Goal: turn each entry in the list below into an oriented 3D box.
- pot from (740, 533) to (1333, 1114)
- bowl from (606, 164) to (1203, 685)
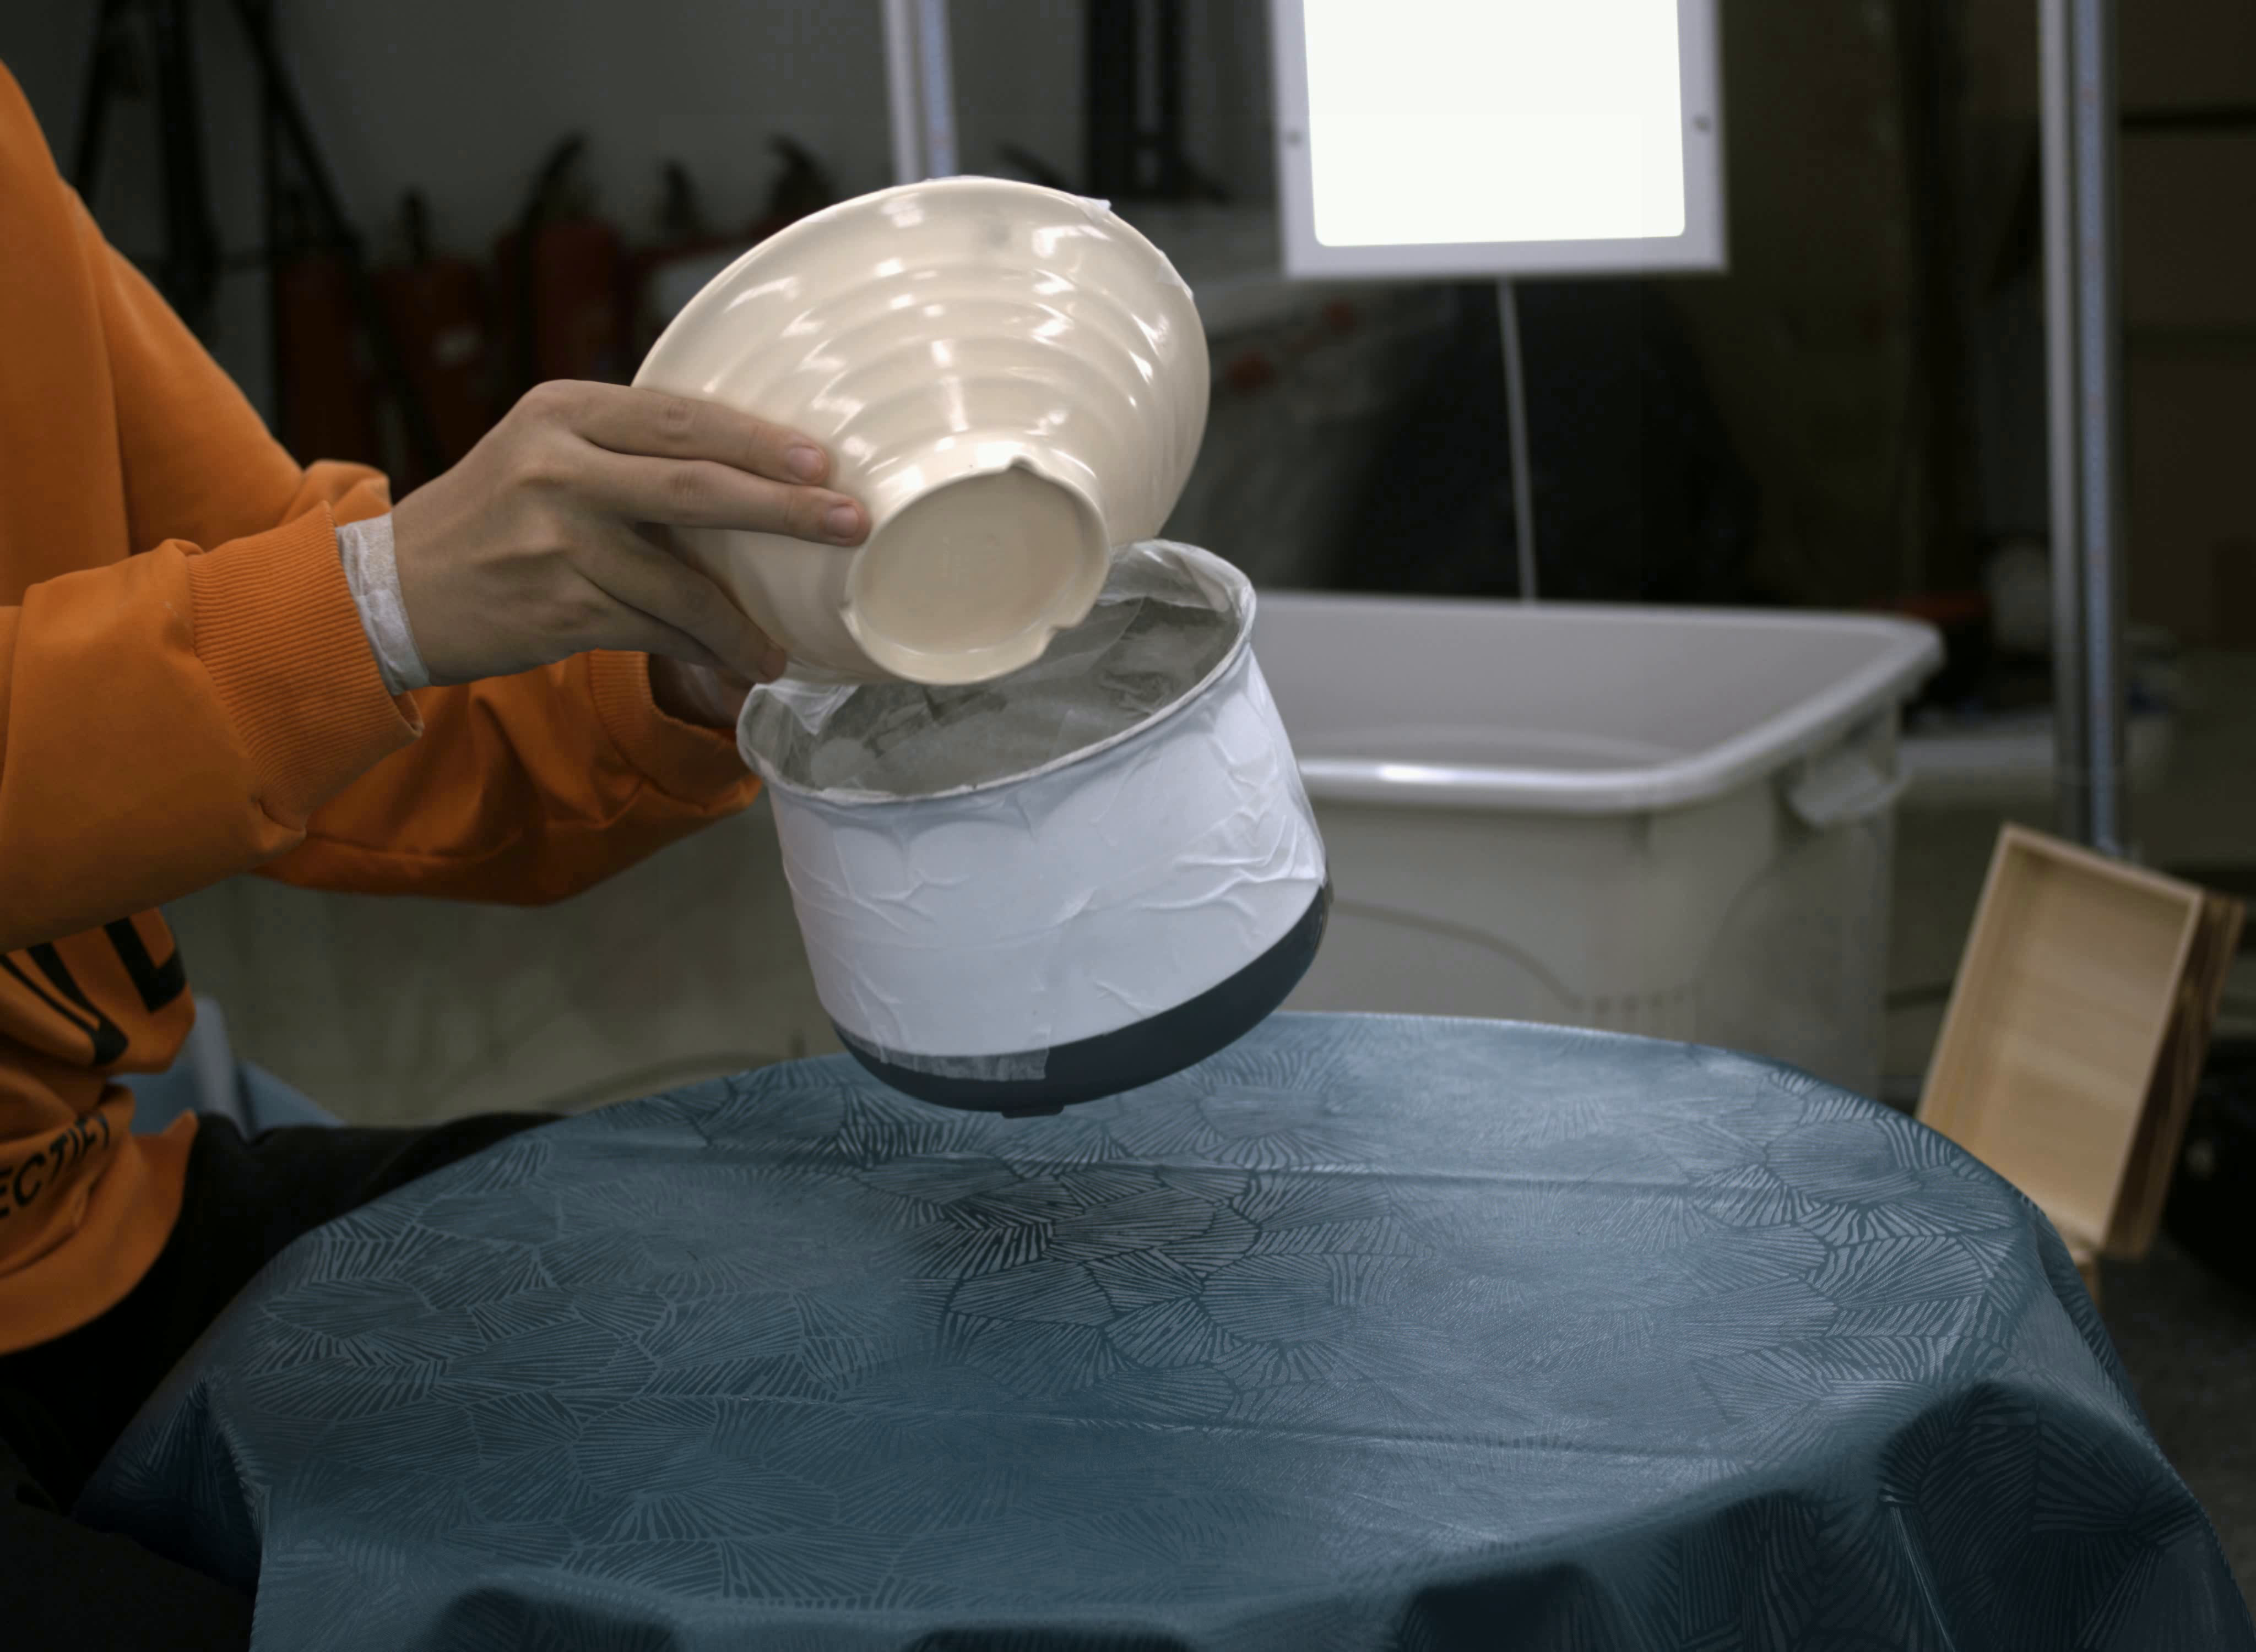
[{"bbox_3d":[-0.040,-0.008,1.846,0.176,0.136,0.237,-26,27,-19],"label":"pot"},{"bbox_3d":[-0.058,-0.105,1.752,0.200,0.206,0.078,-8,43,-18],"label":"bowl"}]
